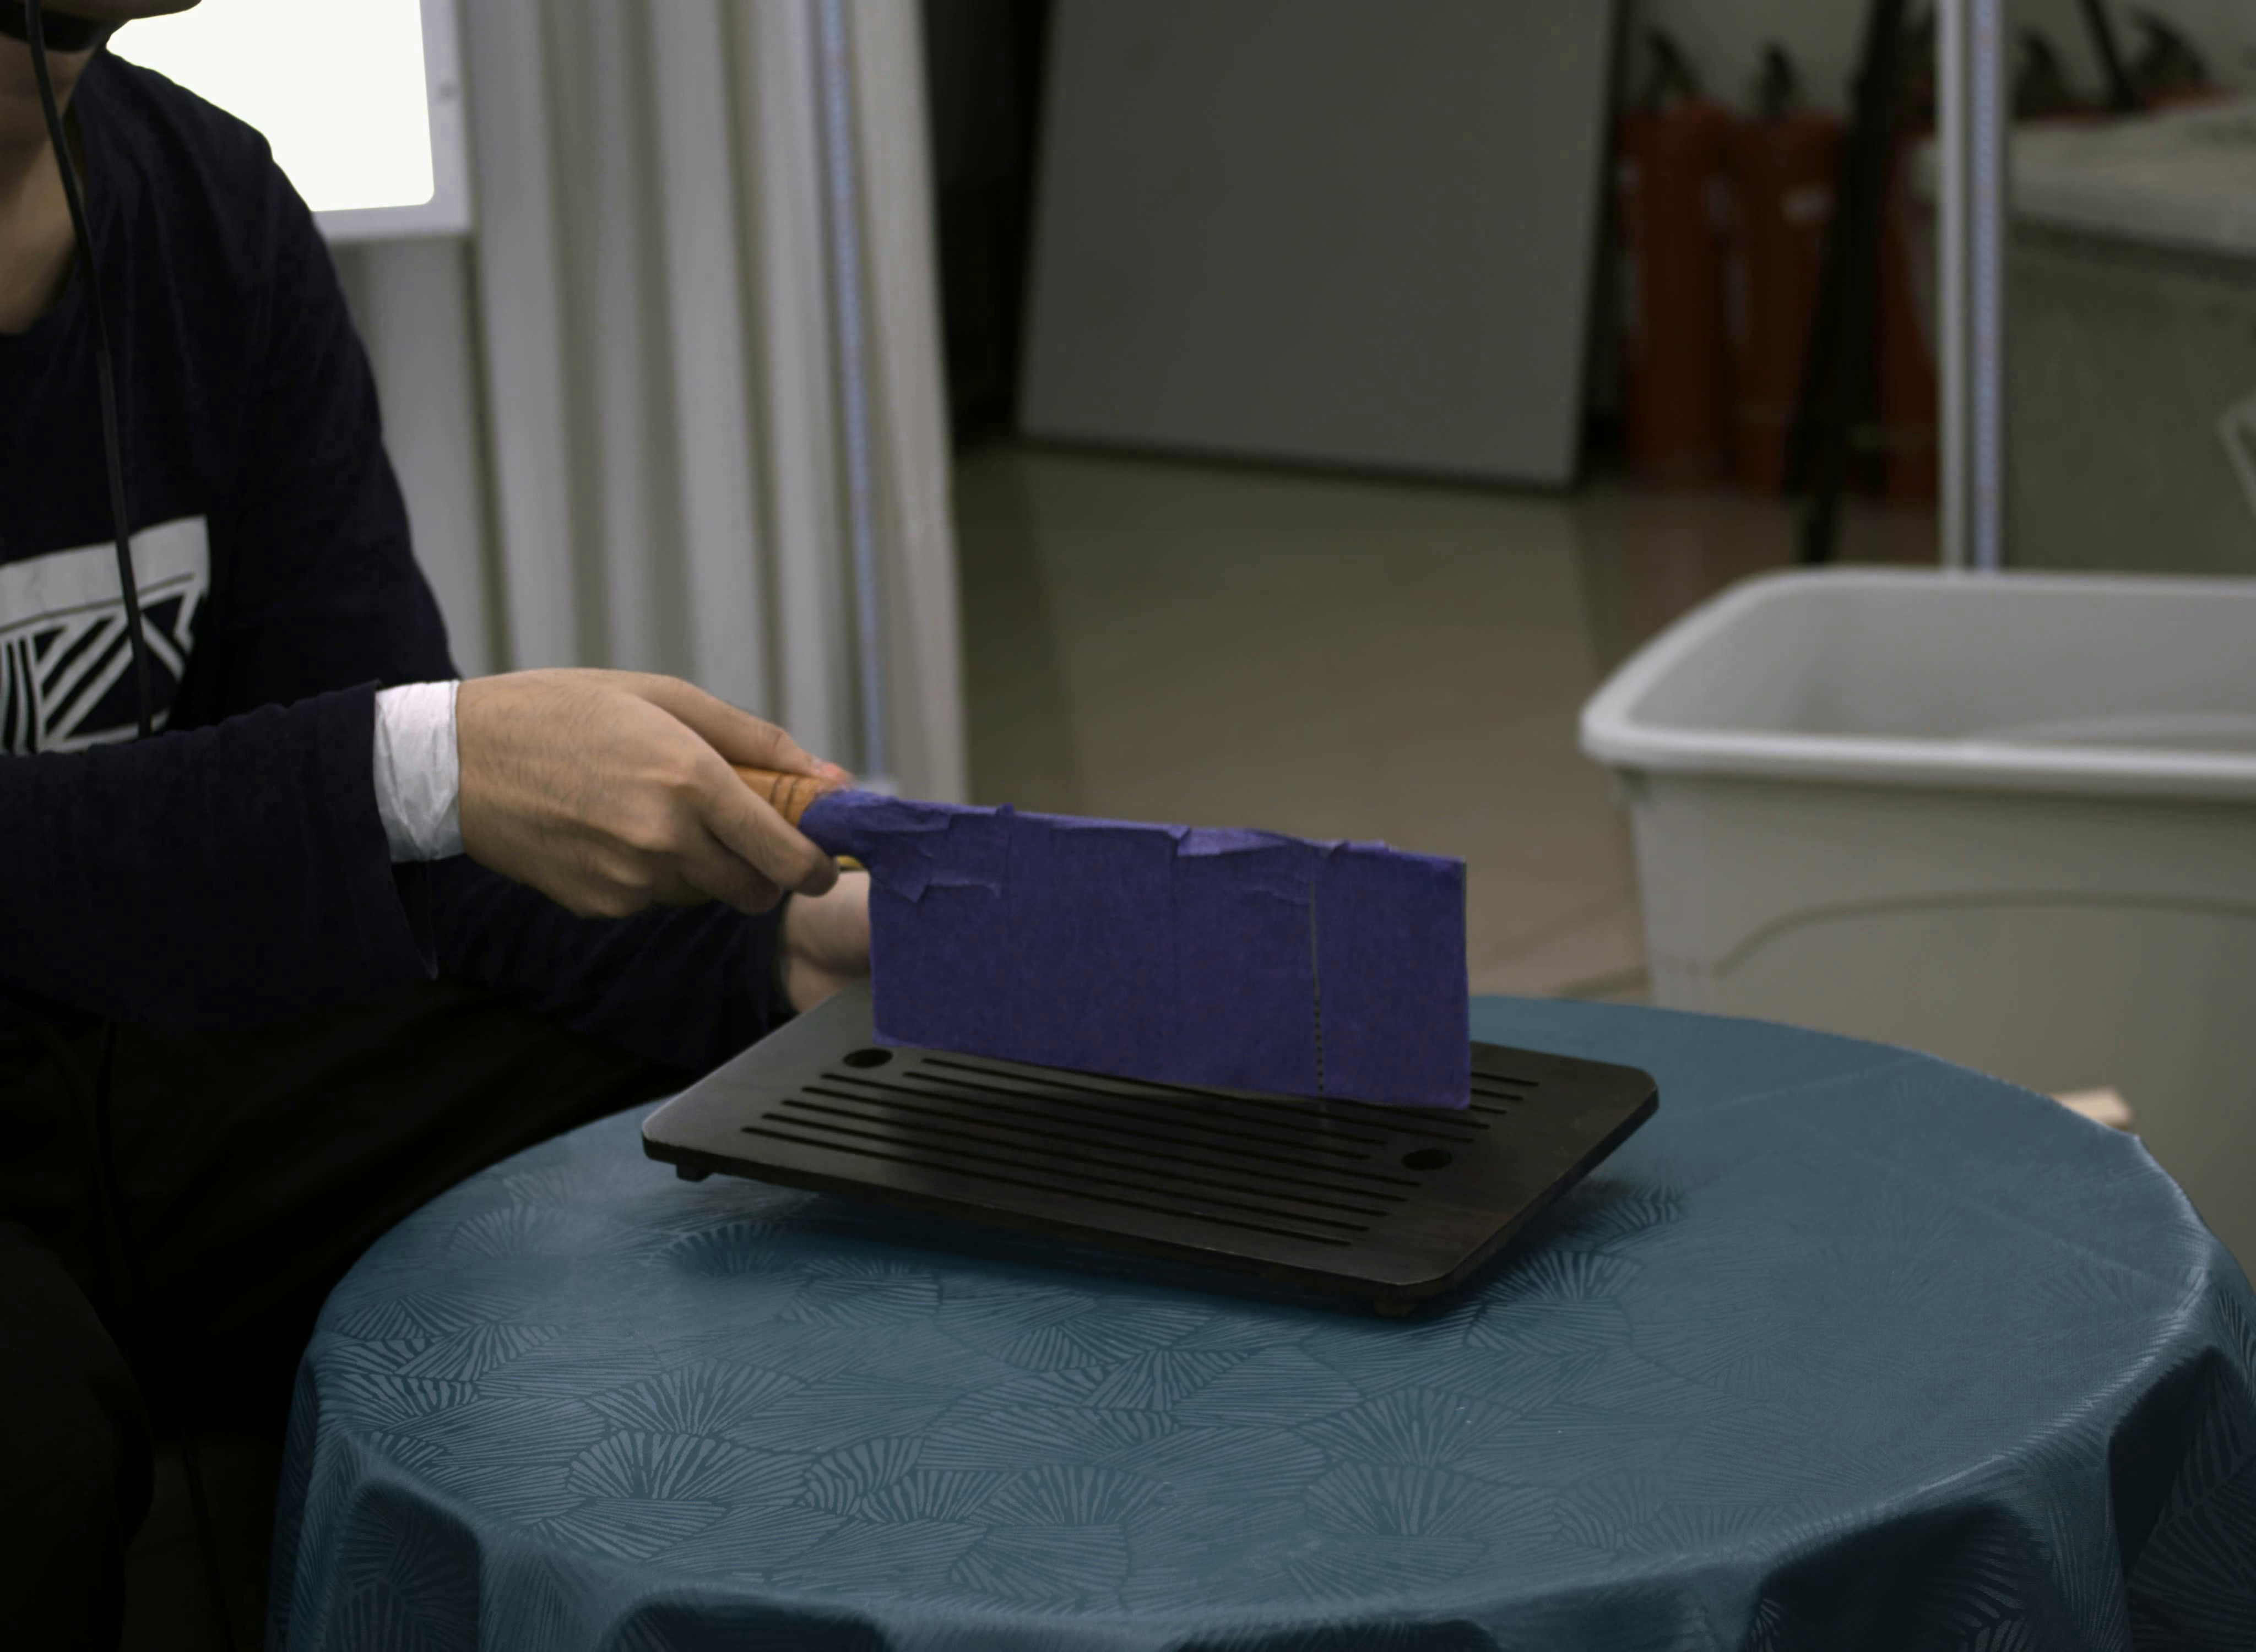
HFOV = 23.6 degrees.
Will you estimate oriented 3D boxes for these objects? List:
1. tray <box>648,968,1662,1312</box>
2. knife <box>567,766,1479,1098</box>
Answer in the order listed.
[{"bbox_3d":[0.008,0.098,1.764,0.307,0.019,0.168,7,25,32],"label":"tray"},{"bbox_3d":[-0.037,0.034,1.764,0.315,0.105,0.032,5,19,22],"label":"knife"}]
